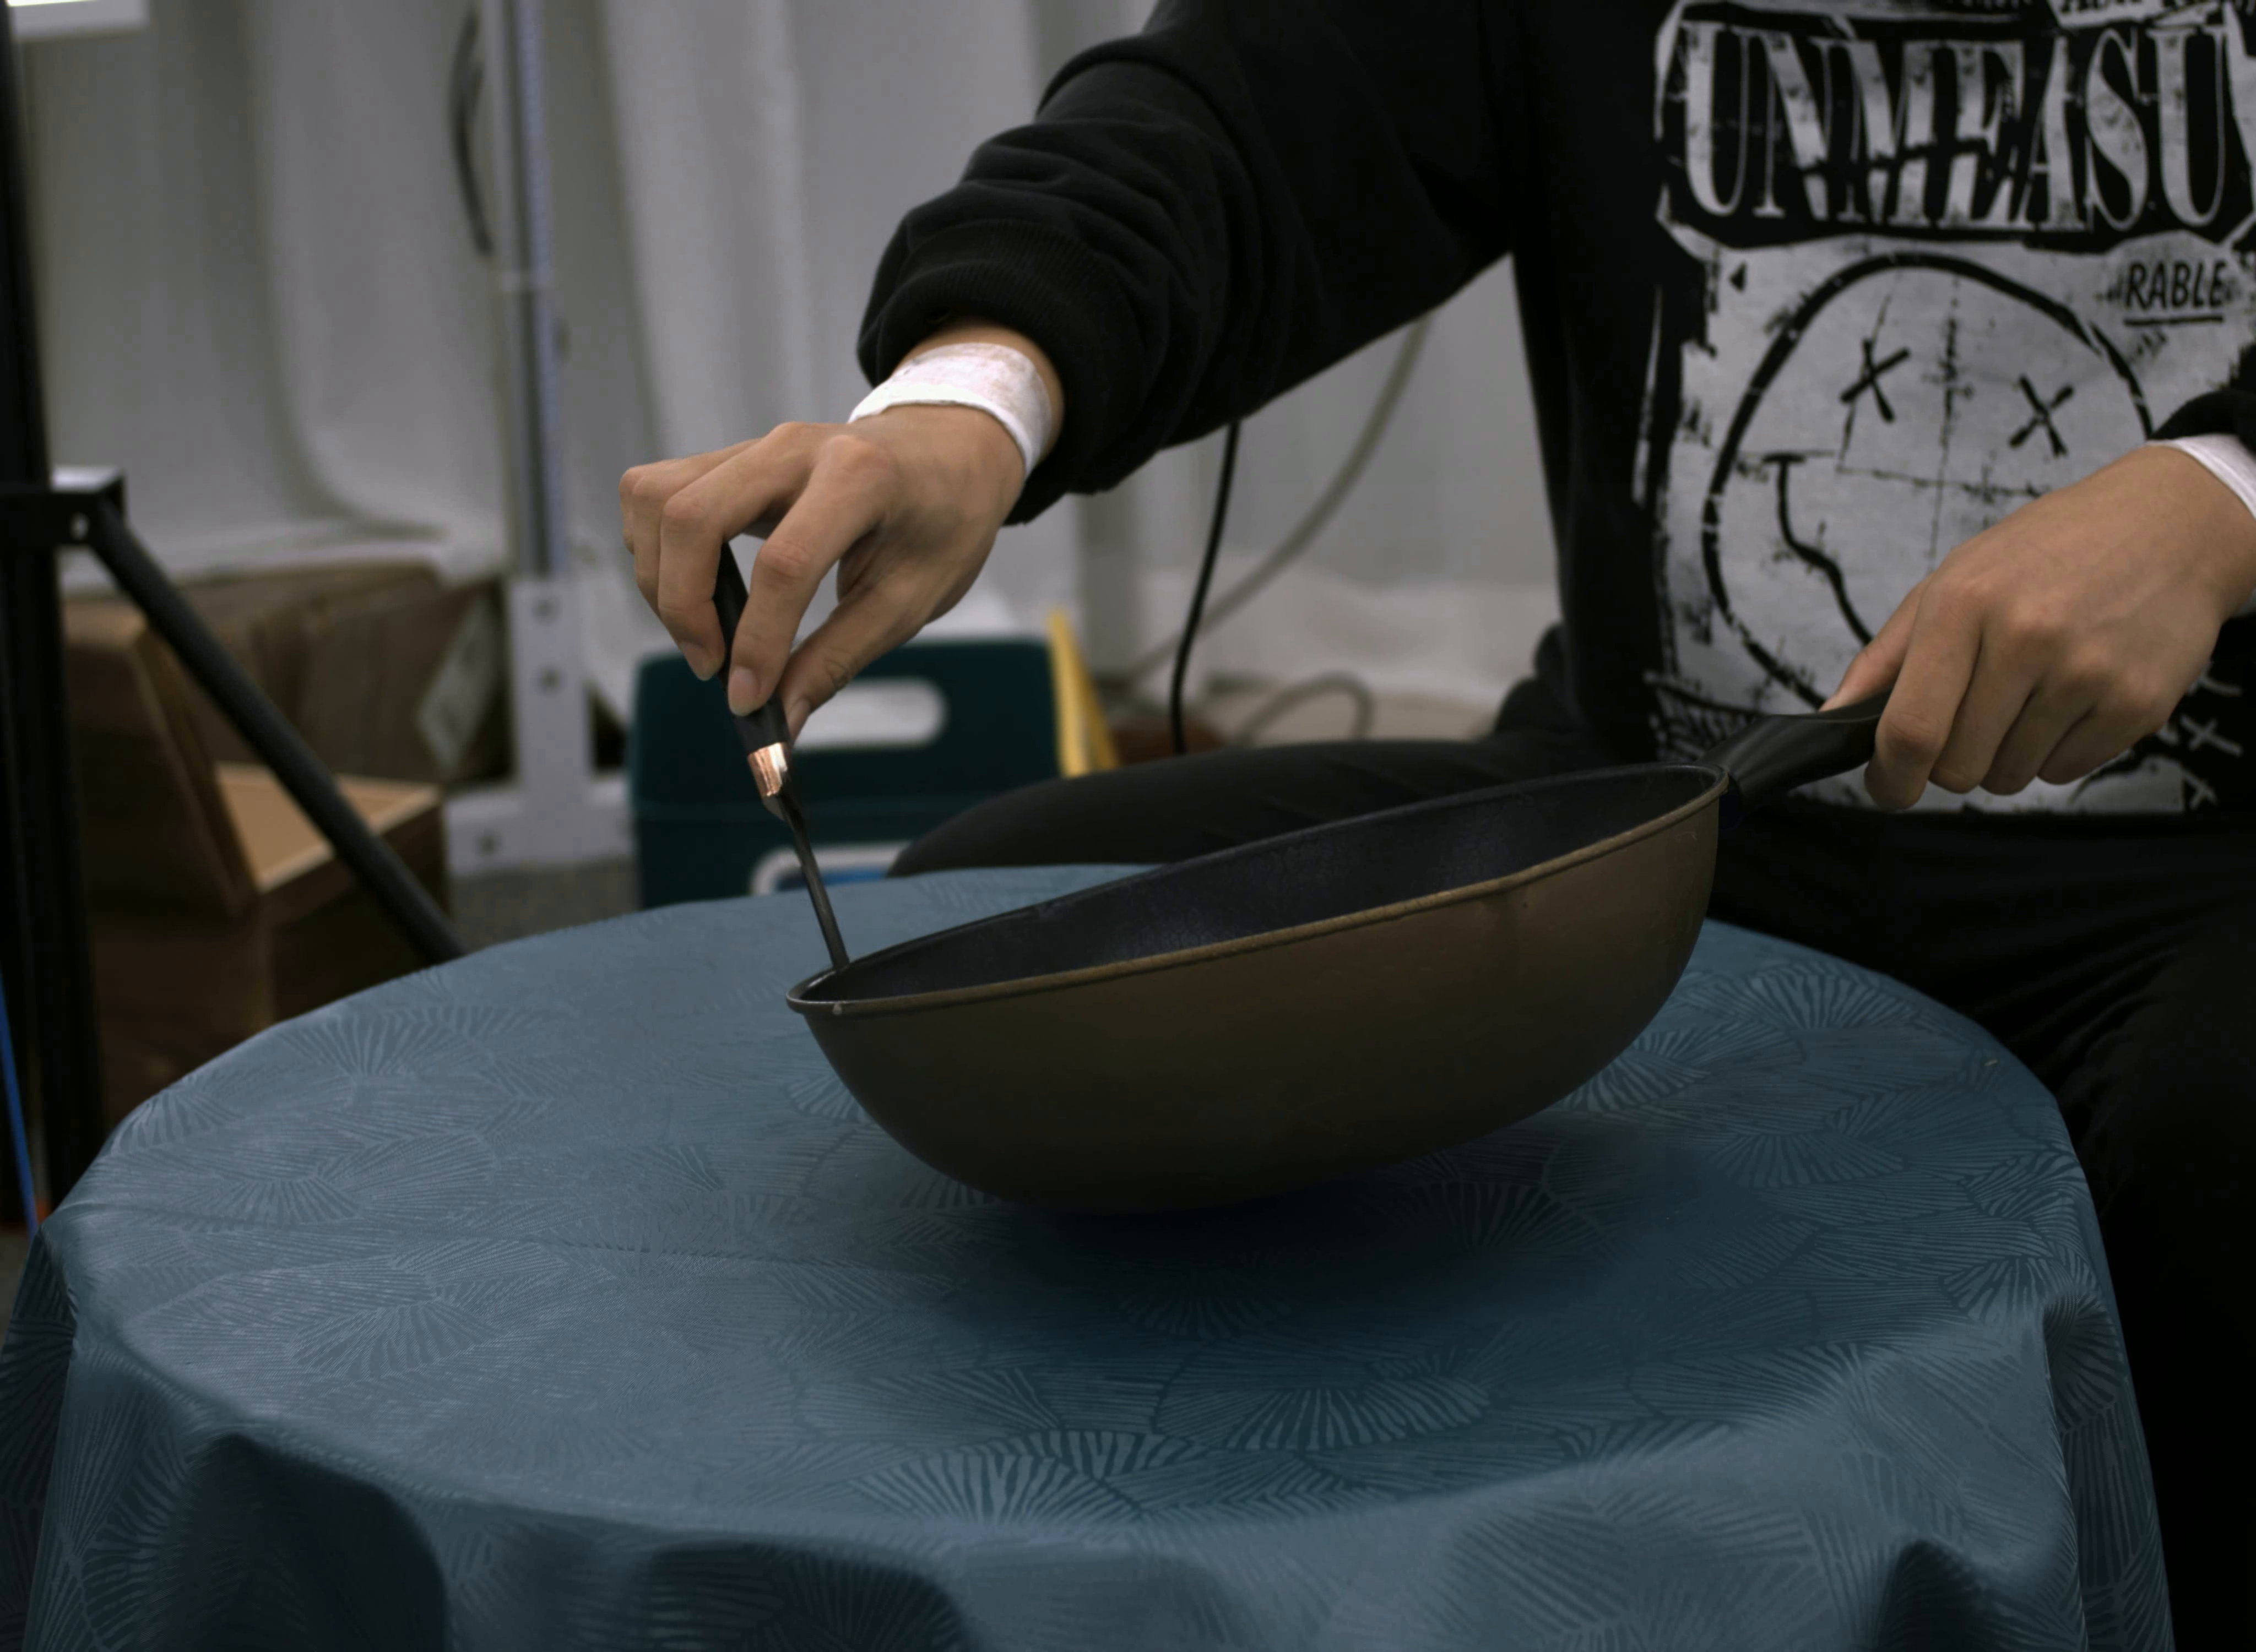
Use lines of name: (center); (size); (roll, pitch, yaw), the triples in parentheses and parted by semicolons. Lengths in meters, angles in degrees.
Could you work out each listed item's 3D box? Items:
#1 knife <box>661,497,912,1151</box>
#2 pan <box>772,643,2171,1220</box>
knife: (-0.101, -0.003, 1.588); (0.017, 0.229, 0.026); (-20, -28, -3)
pan: (0.122, 0.034, 1.558); (0.454, 0.087, 0.293); (-15, 4, -24)
